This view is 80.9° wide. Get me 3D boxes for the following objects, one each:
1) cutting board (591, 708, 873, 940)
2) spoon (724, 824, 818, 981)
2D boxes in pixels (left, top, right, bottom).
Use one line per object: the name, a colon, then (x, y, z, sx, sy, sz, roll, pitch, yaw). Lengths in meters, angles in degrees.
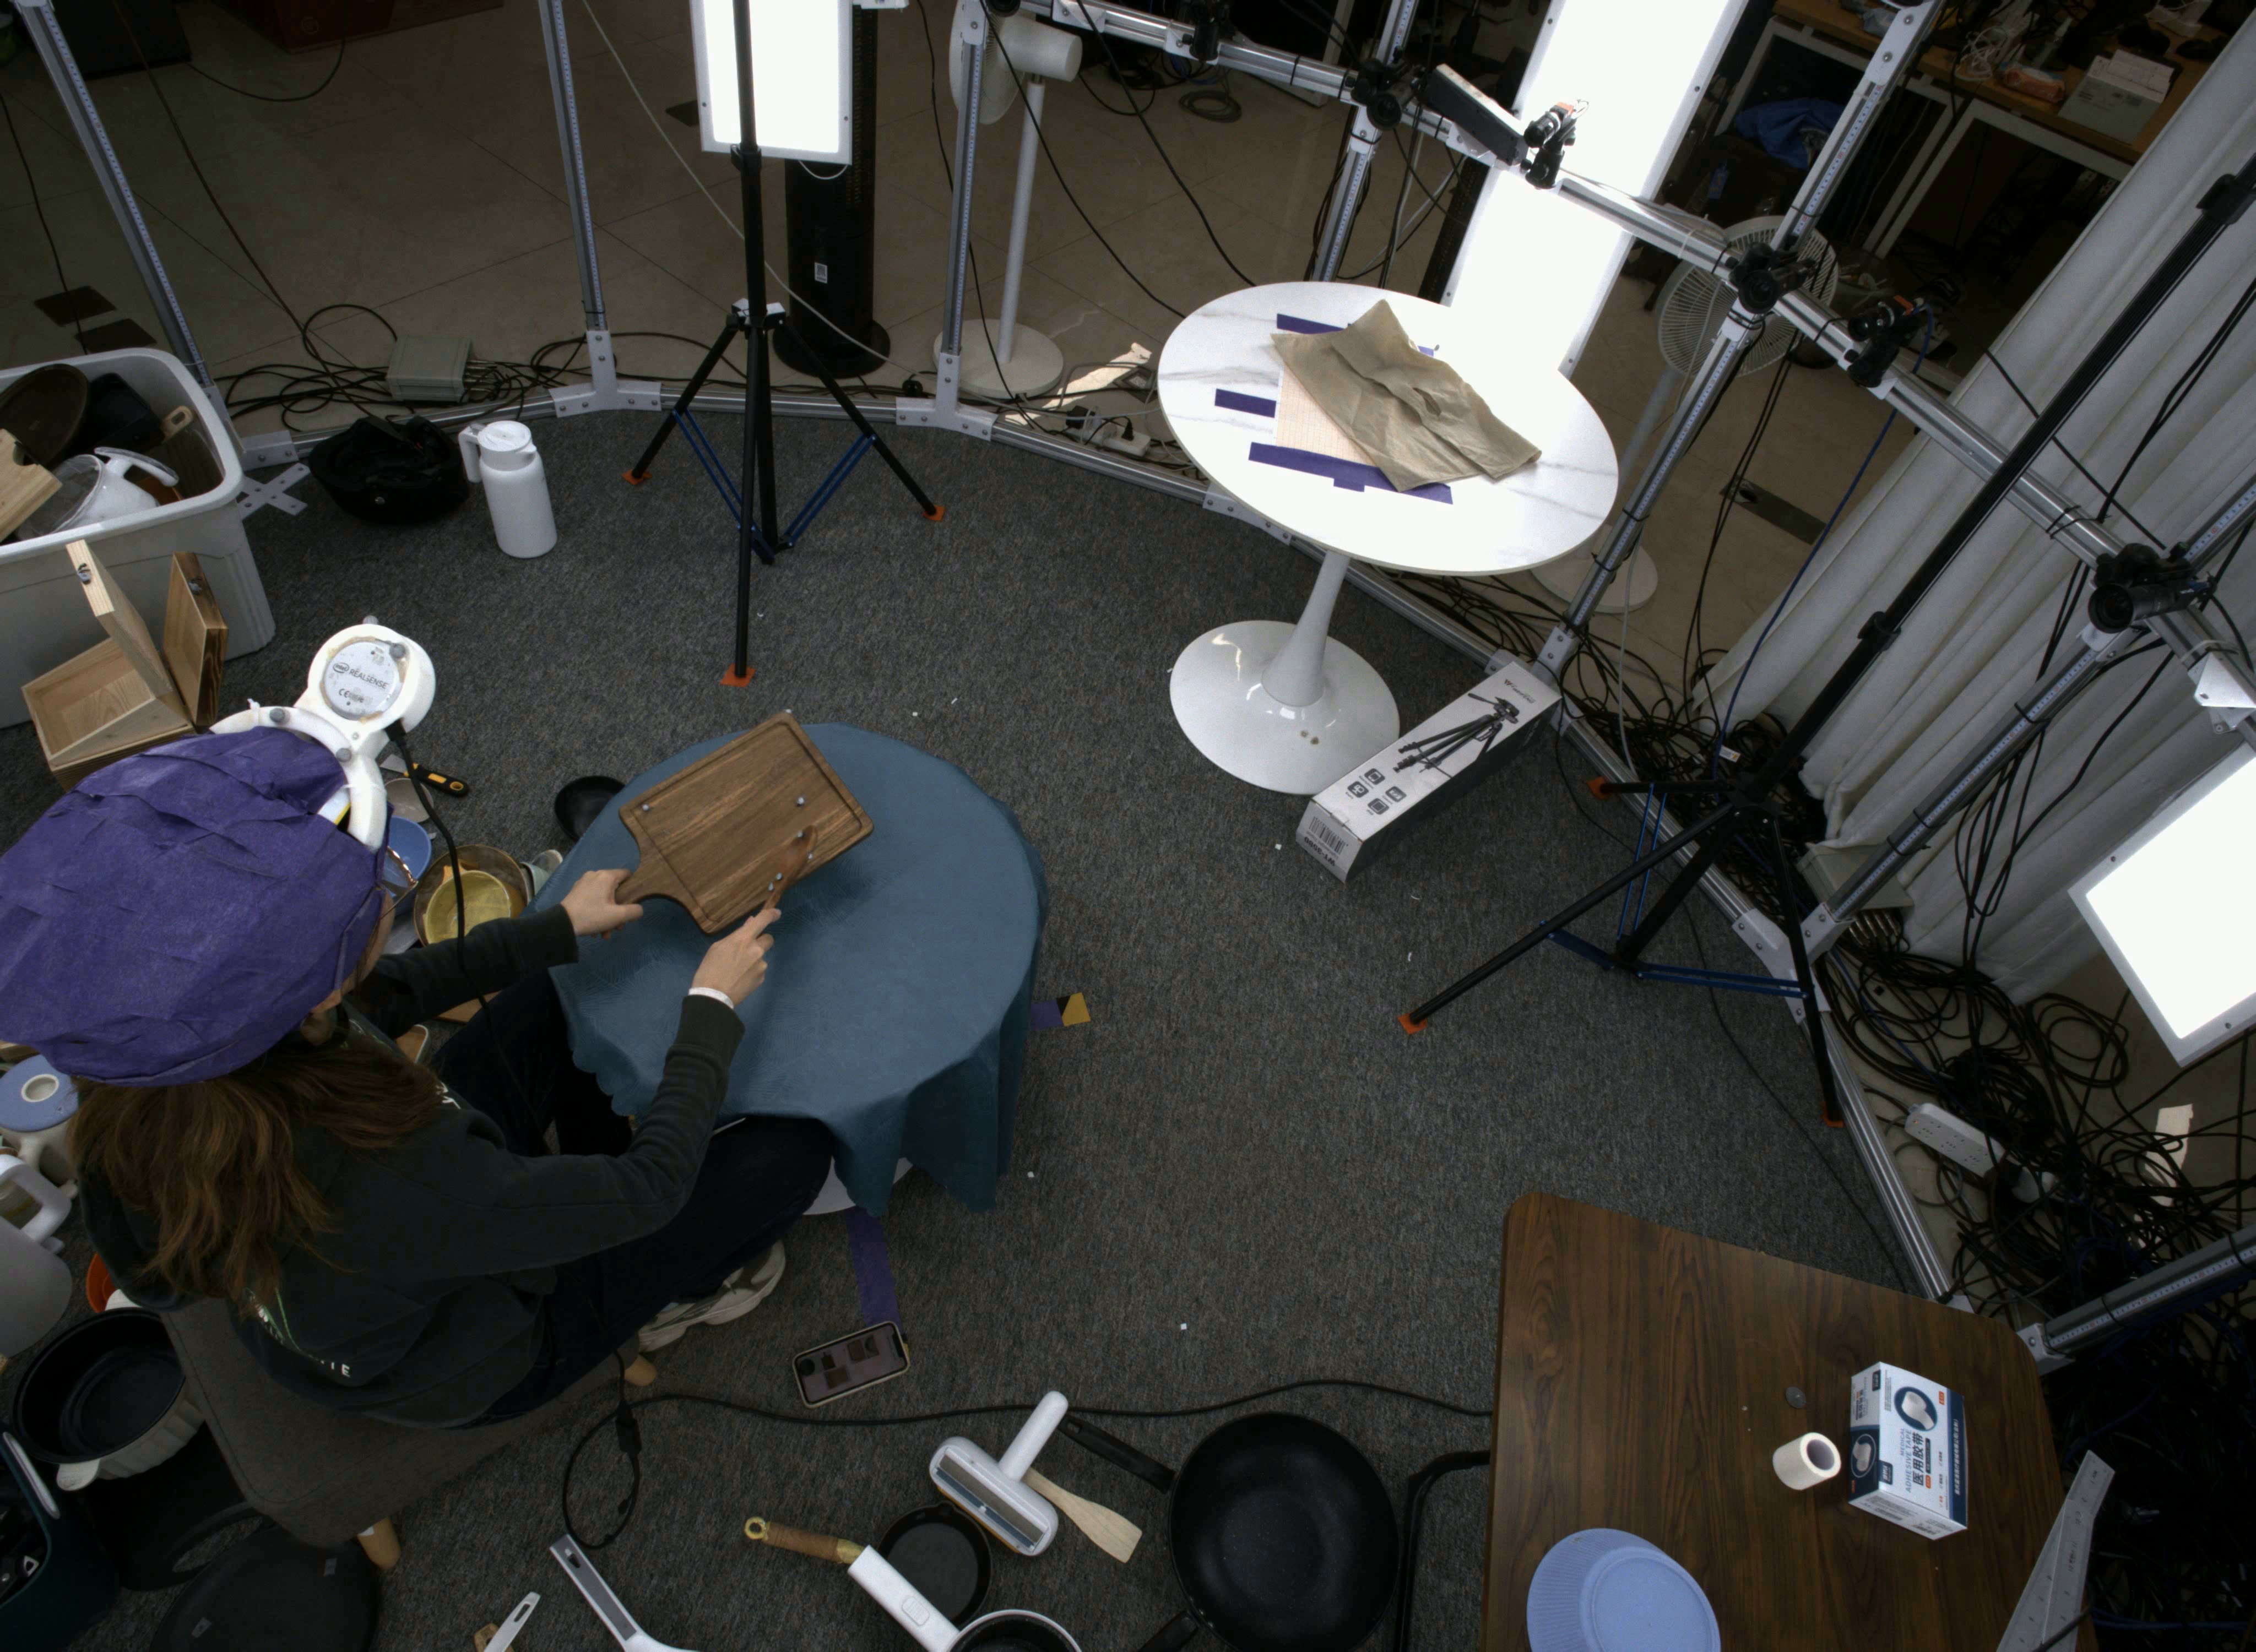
cutting board: (-0.508, 0.018, 1.585, 0.352, 0.023, 0.201, -36, 89, -26)
spoon: (-0.417, 0.086, 1.515, 0.018, 0.073, 0.214, 42, 52, -29)
